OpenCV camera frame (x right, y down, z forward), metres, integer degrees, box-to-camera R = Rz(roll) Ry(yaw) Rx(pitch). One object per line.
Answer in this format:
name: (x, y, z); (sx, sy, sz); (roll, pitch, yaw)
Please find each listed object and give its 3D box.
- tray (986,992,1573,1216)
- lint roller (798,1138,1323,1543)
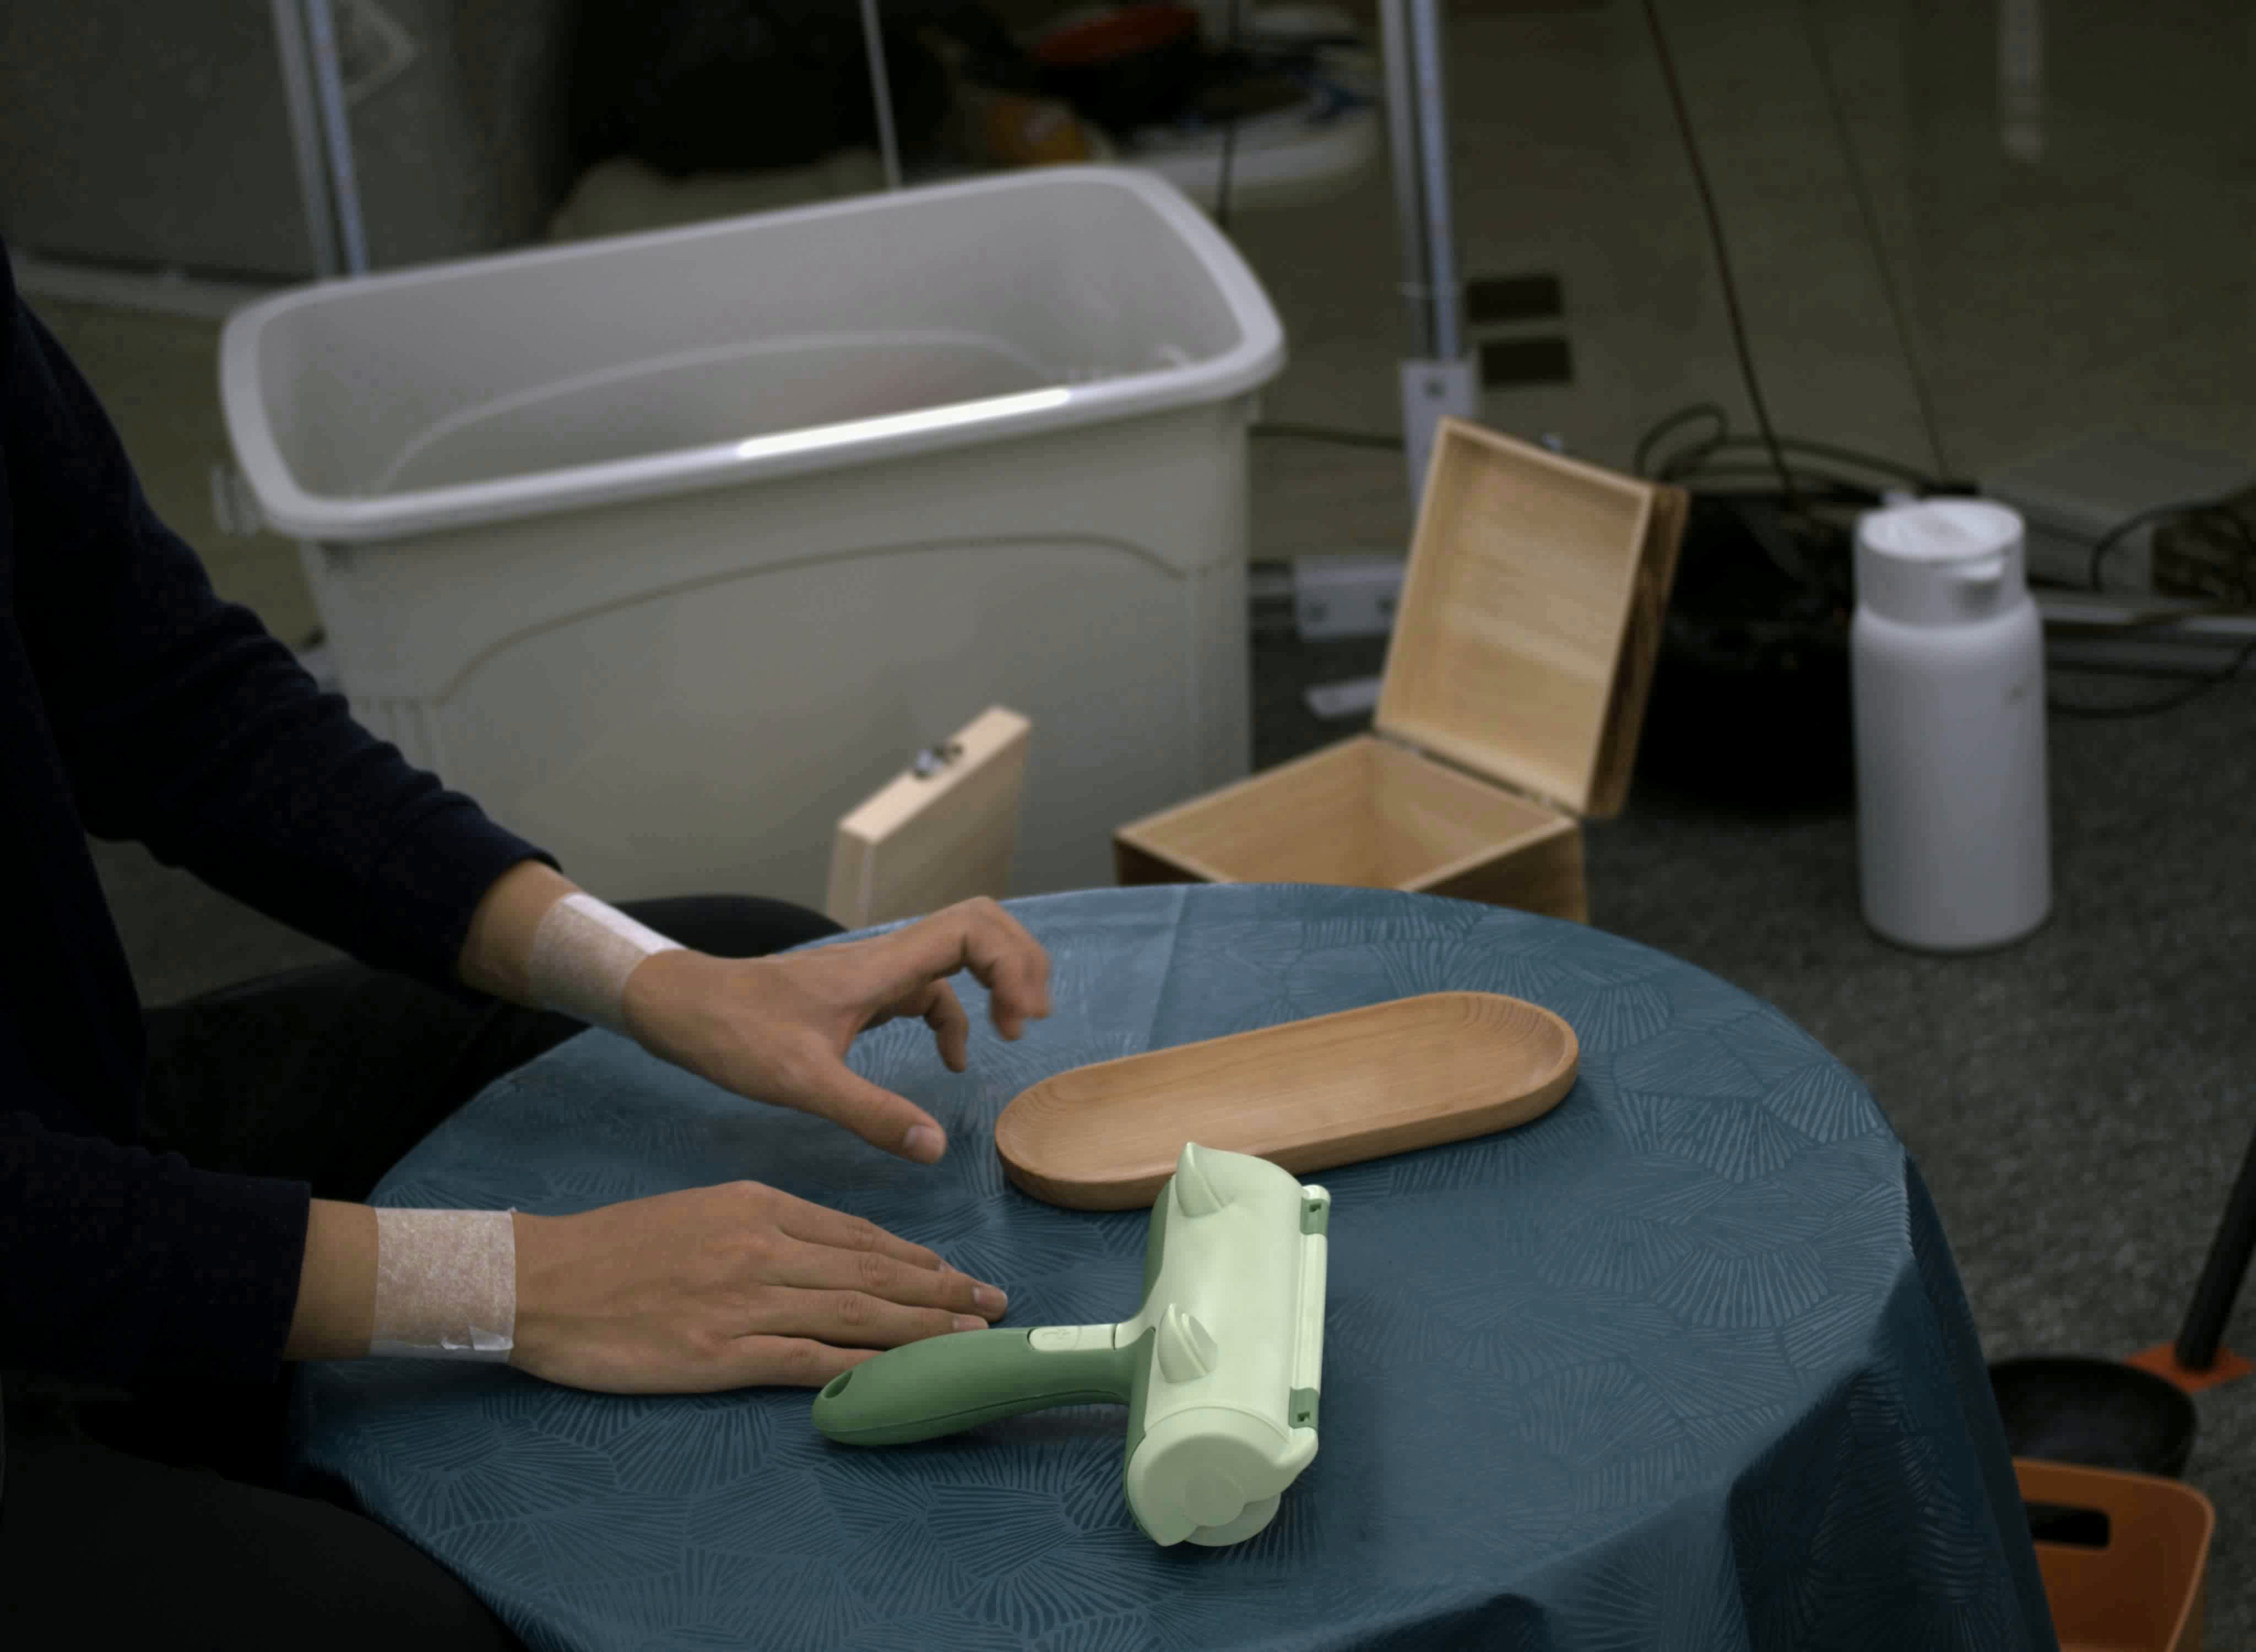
tray: (0.059, 0.107, 2.181); (0.230, 0.020, 0.100); (-13, 25, -10)
lint roller: (-0.025, 0.172, 1.978); (0.183, 0.083, 0.196); (1, 25, 3)
